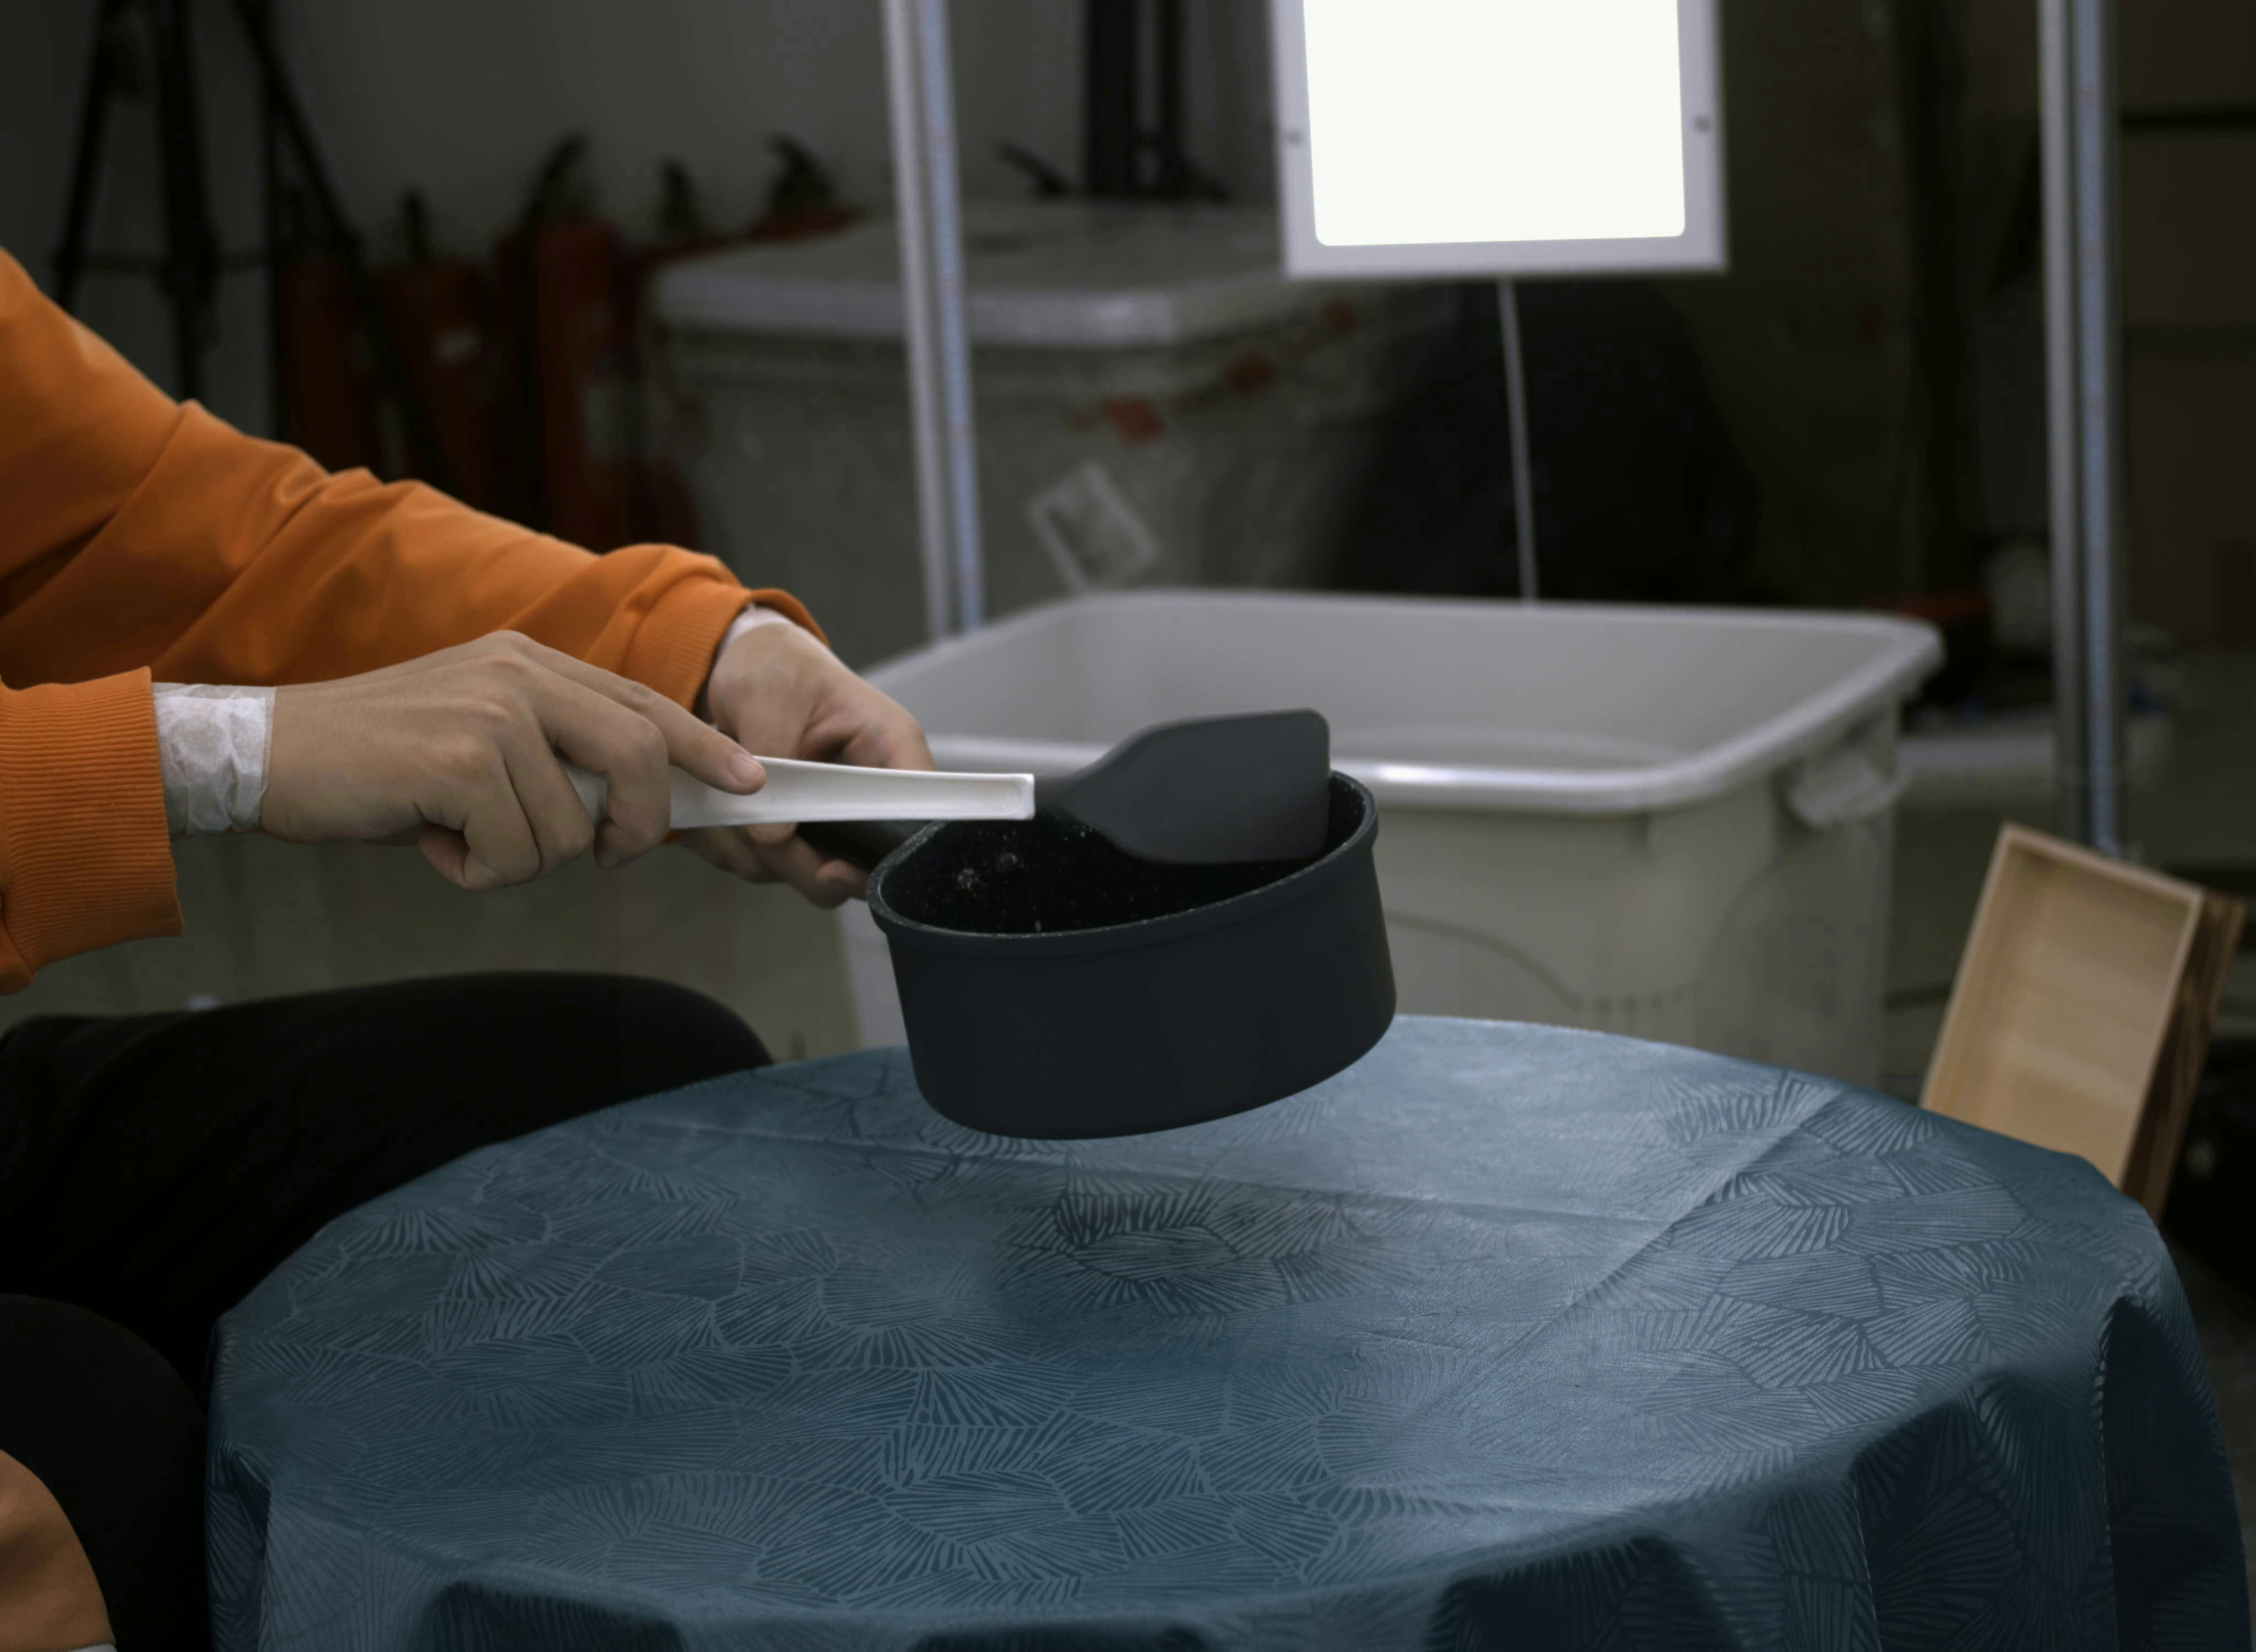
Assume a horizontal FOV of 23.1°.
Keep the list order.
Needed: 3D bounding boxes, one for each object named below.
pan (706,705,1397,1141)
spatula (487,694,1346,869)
[{"bbox_3d":[-0.043,0.026,1.887,0.168,0.087,0.335,-20,21,-31],"label":"pan"},{"bbox_3d":[-0.067,-0.014,1.814,0.285,0.059,0.032,0,6,-7],"label":"spatula"}]
